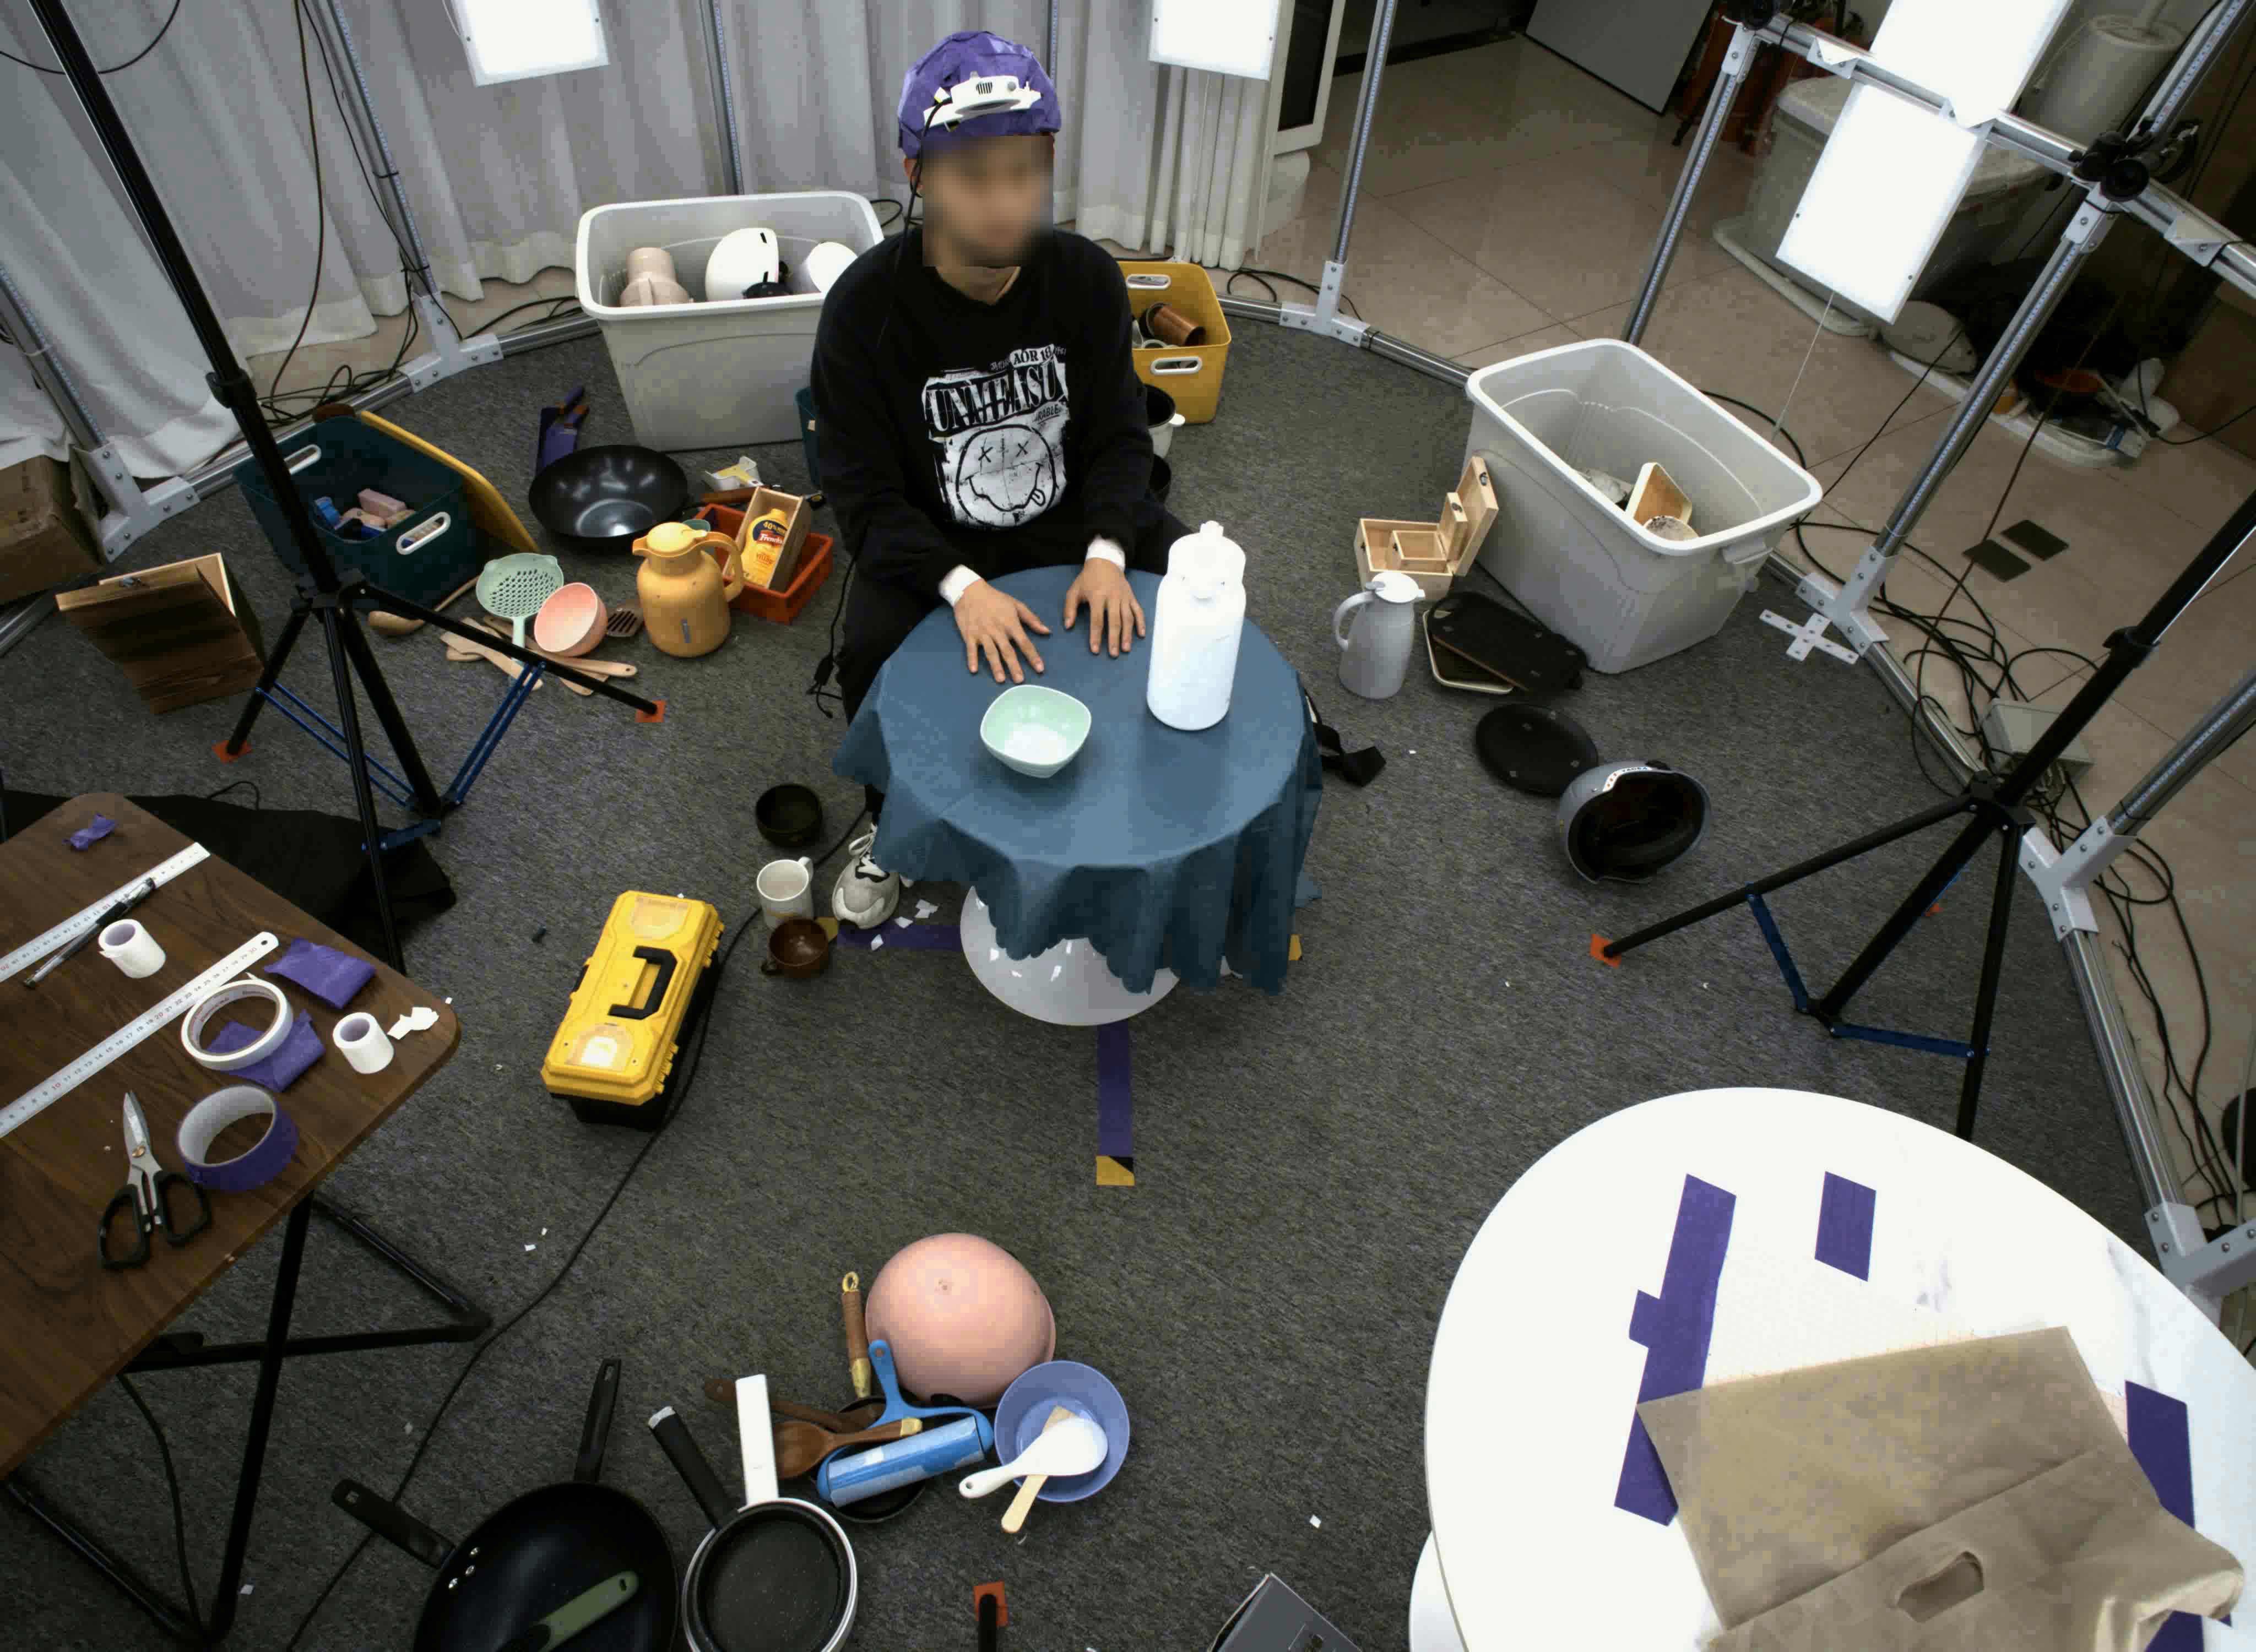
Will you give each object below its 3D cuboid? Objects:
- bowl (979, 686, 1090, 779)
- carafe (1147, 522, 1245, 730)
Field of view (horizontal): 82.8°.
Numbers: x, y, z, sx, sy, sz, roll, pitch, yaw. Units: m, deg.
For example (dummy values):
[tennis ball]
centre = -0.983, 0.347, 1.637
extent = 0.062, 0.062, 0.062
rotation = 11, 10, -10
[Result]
[bowl]
centre = -0.125, -0.118, 1.729
extent = 0.151, 0.057, 0.155
rotation = 2, 49, -2
[carafe]
centre = 0.092, -0.272, 1.739
extent = 0.124, 0.262, 0.177
rotation = 6, 49, 3
